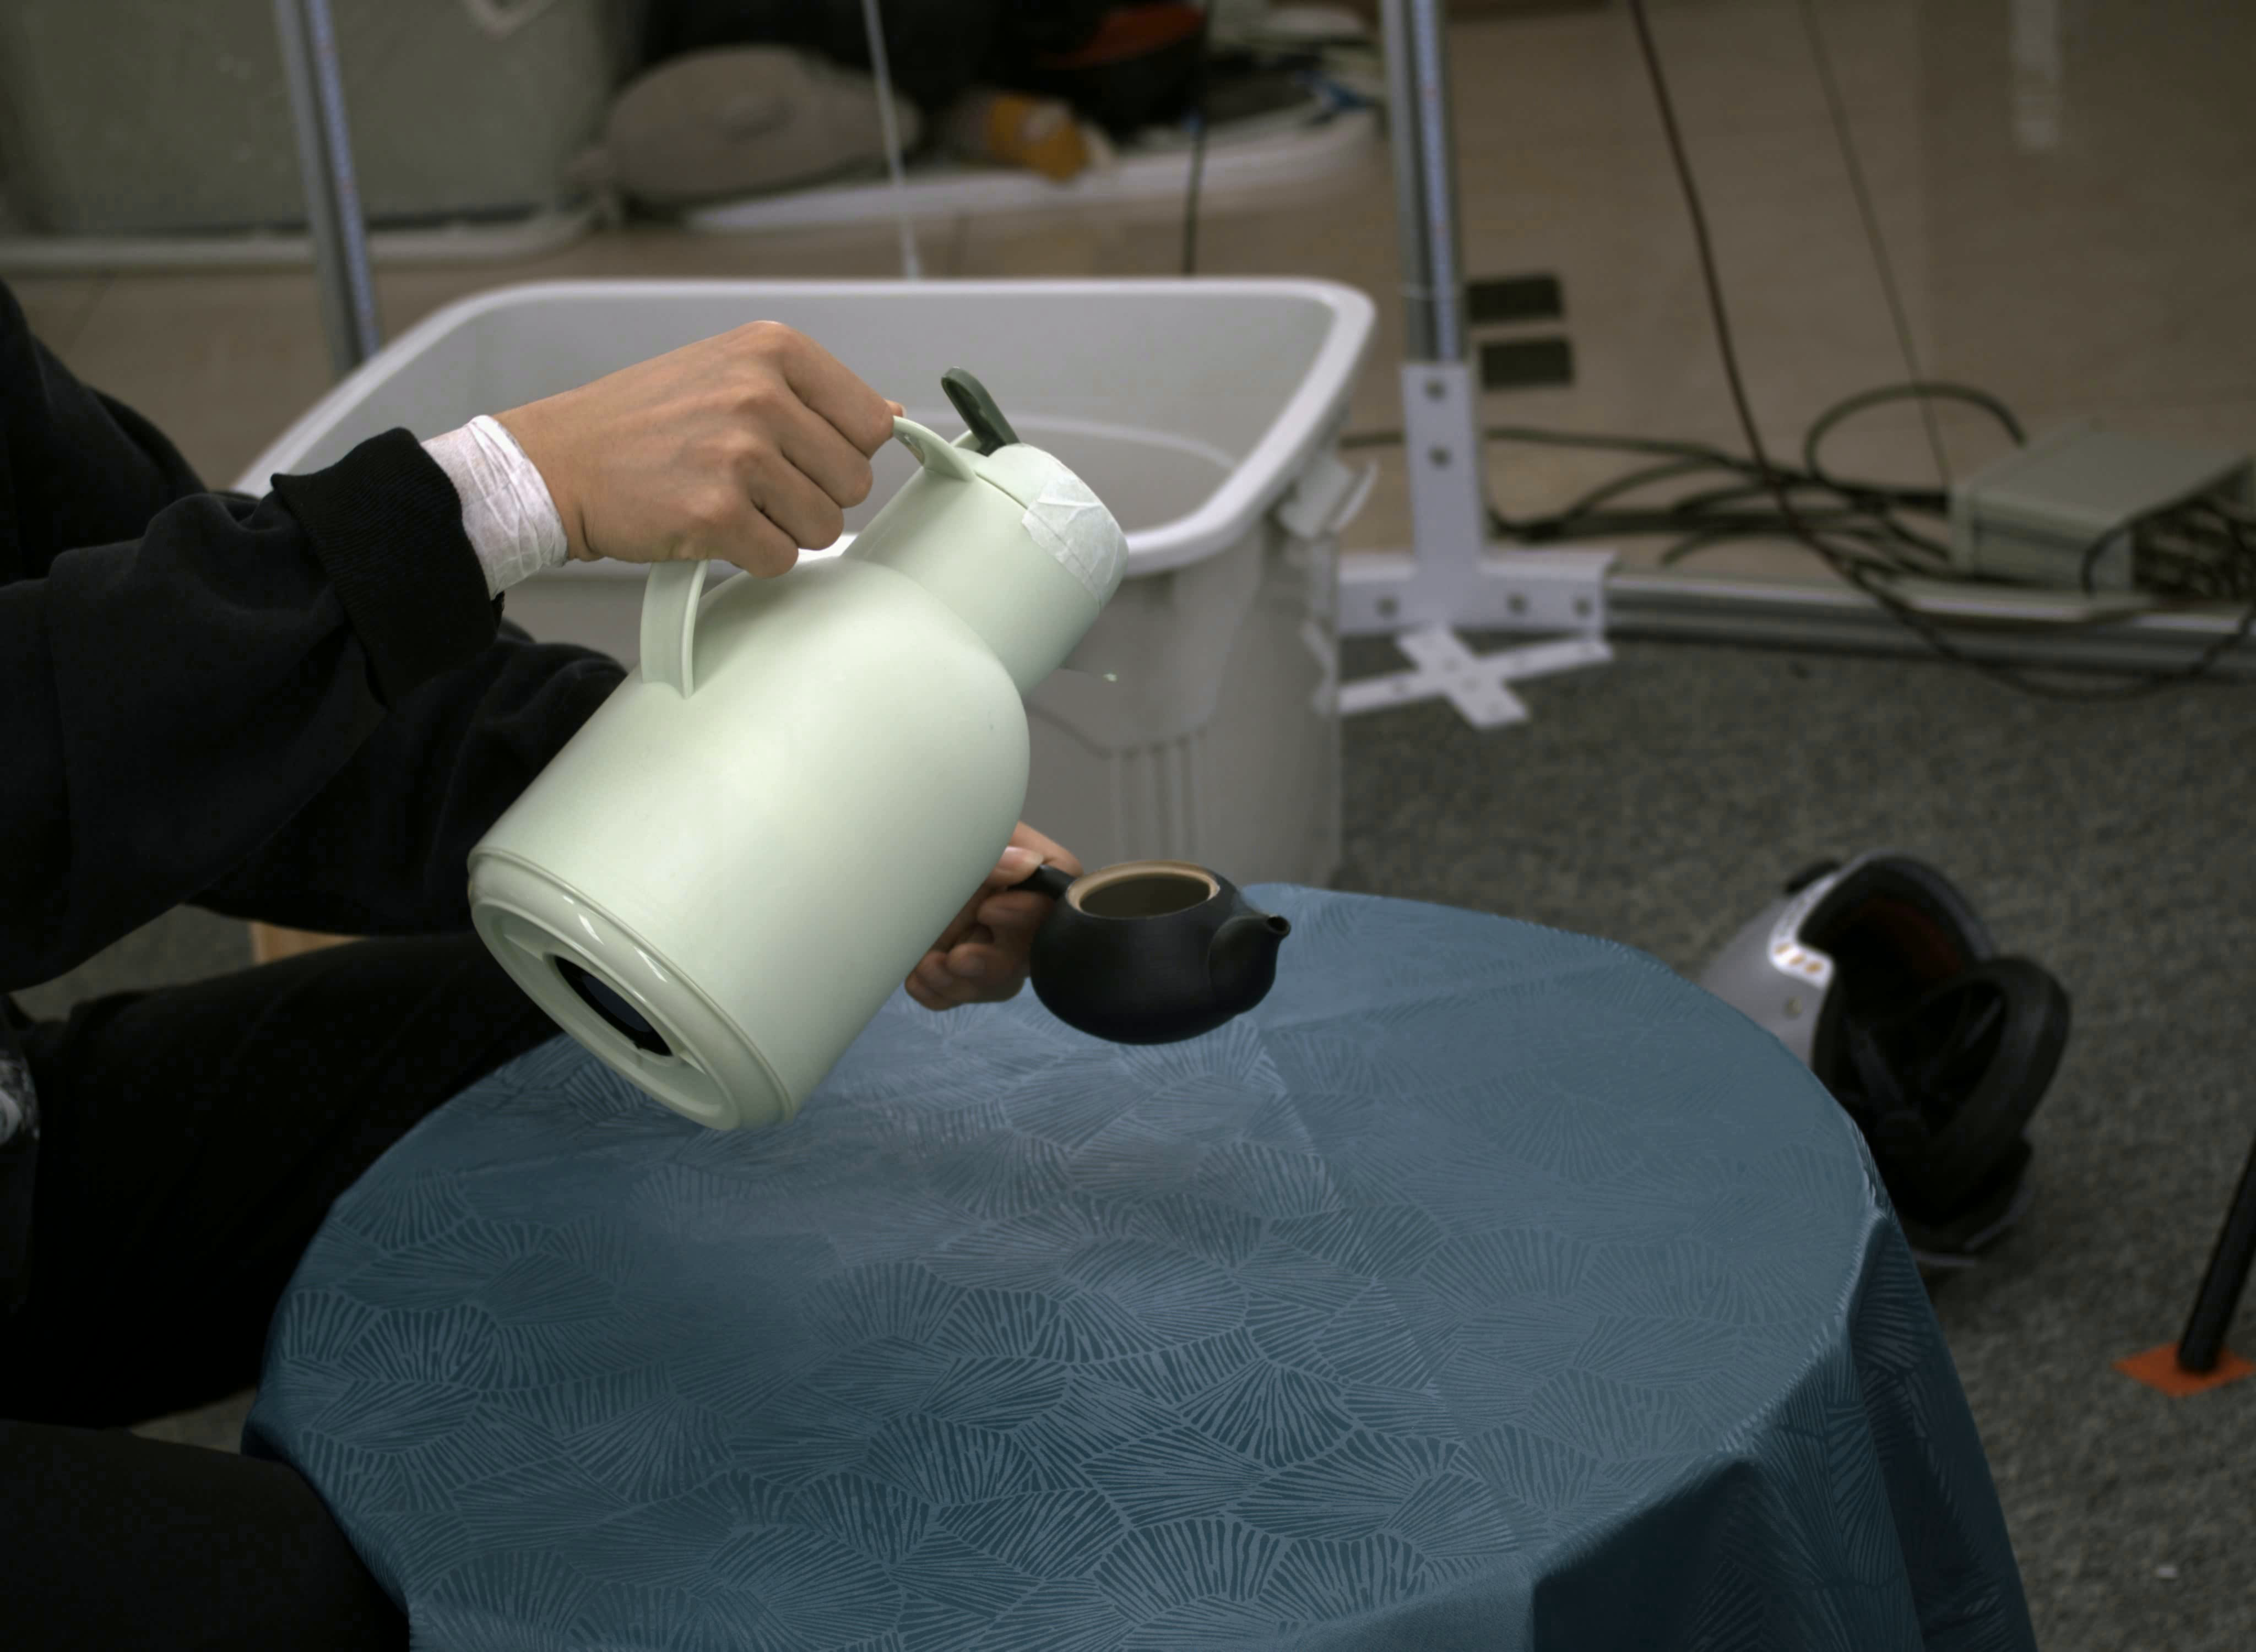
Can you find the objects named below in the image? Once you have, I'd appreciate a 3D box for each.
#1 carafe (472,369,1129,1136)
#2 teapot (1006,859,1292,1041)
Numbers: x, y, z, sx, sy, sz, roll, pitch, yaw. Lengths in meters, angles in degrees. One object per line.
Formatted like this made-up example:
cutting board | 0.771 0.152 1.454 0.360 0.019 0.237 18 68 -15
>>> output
carafe | -0.111 -0.035 1.977 0.143 0.189 0.255 22 70 48
teapot | 0.008 0.046 2.115 0.132 0.054 0.090 13 26 36
